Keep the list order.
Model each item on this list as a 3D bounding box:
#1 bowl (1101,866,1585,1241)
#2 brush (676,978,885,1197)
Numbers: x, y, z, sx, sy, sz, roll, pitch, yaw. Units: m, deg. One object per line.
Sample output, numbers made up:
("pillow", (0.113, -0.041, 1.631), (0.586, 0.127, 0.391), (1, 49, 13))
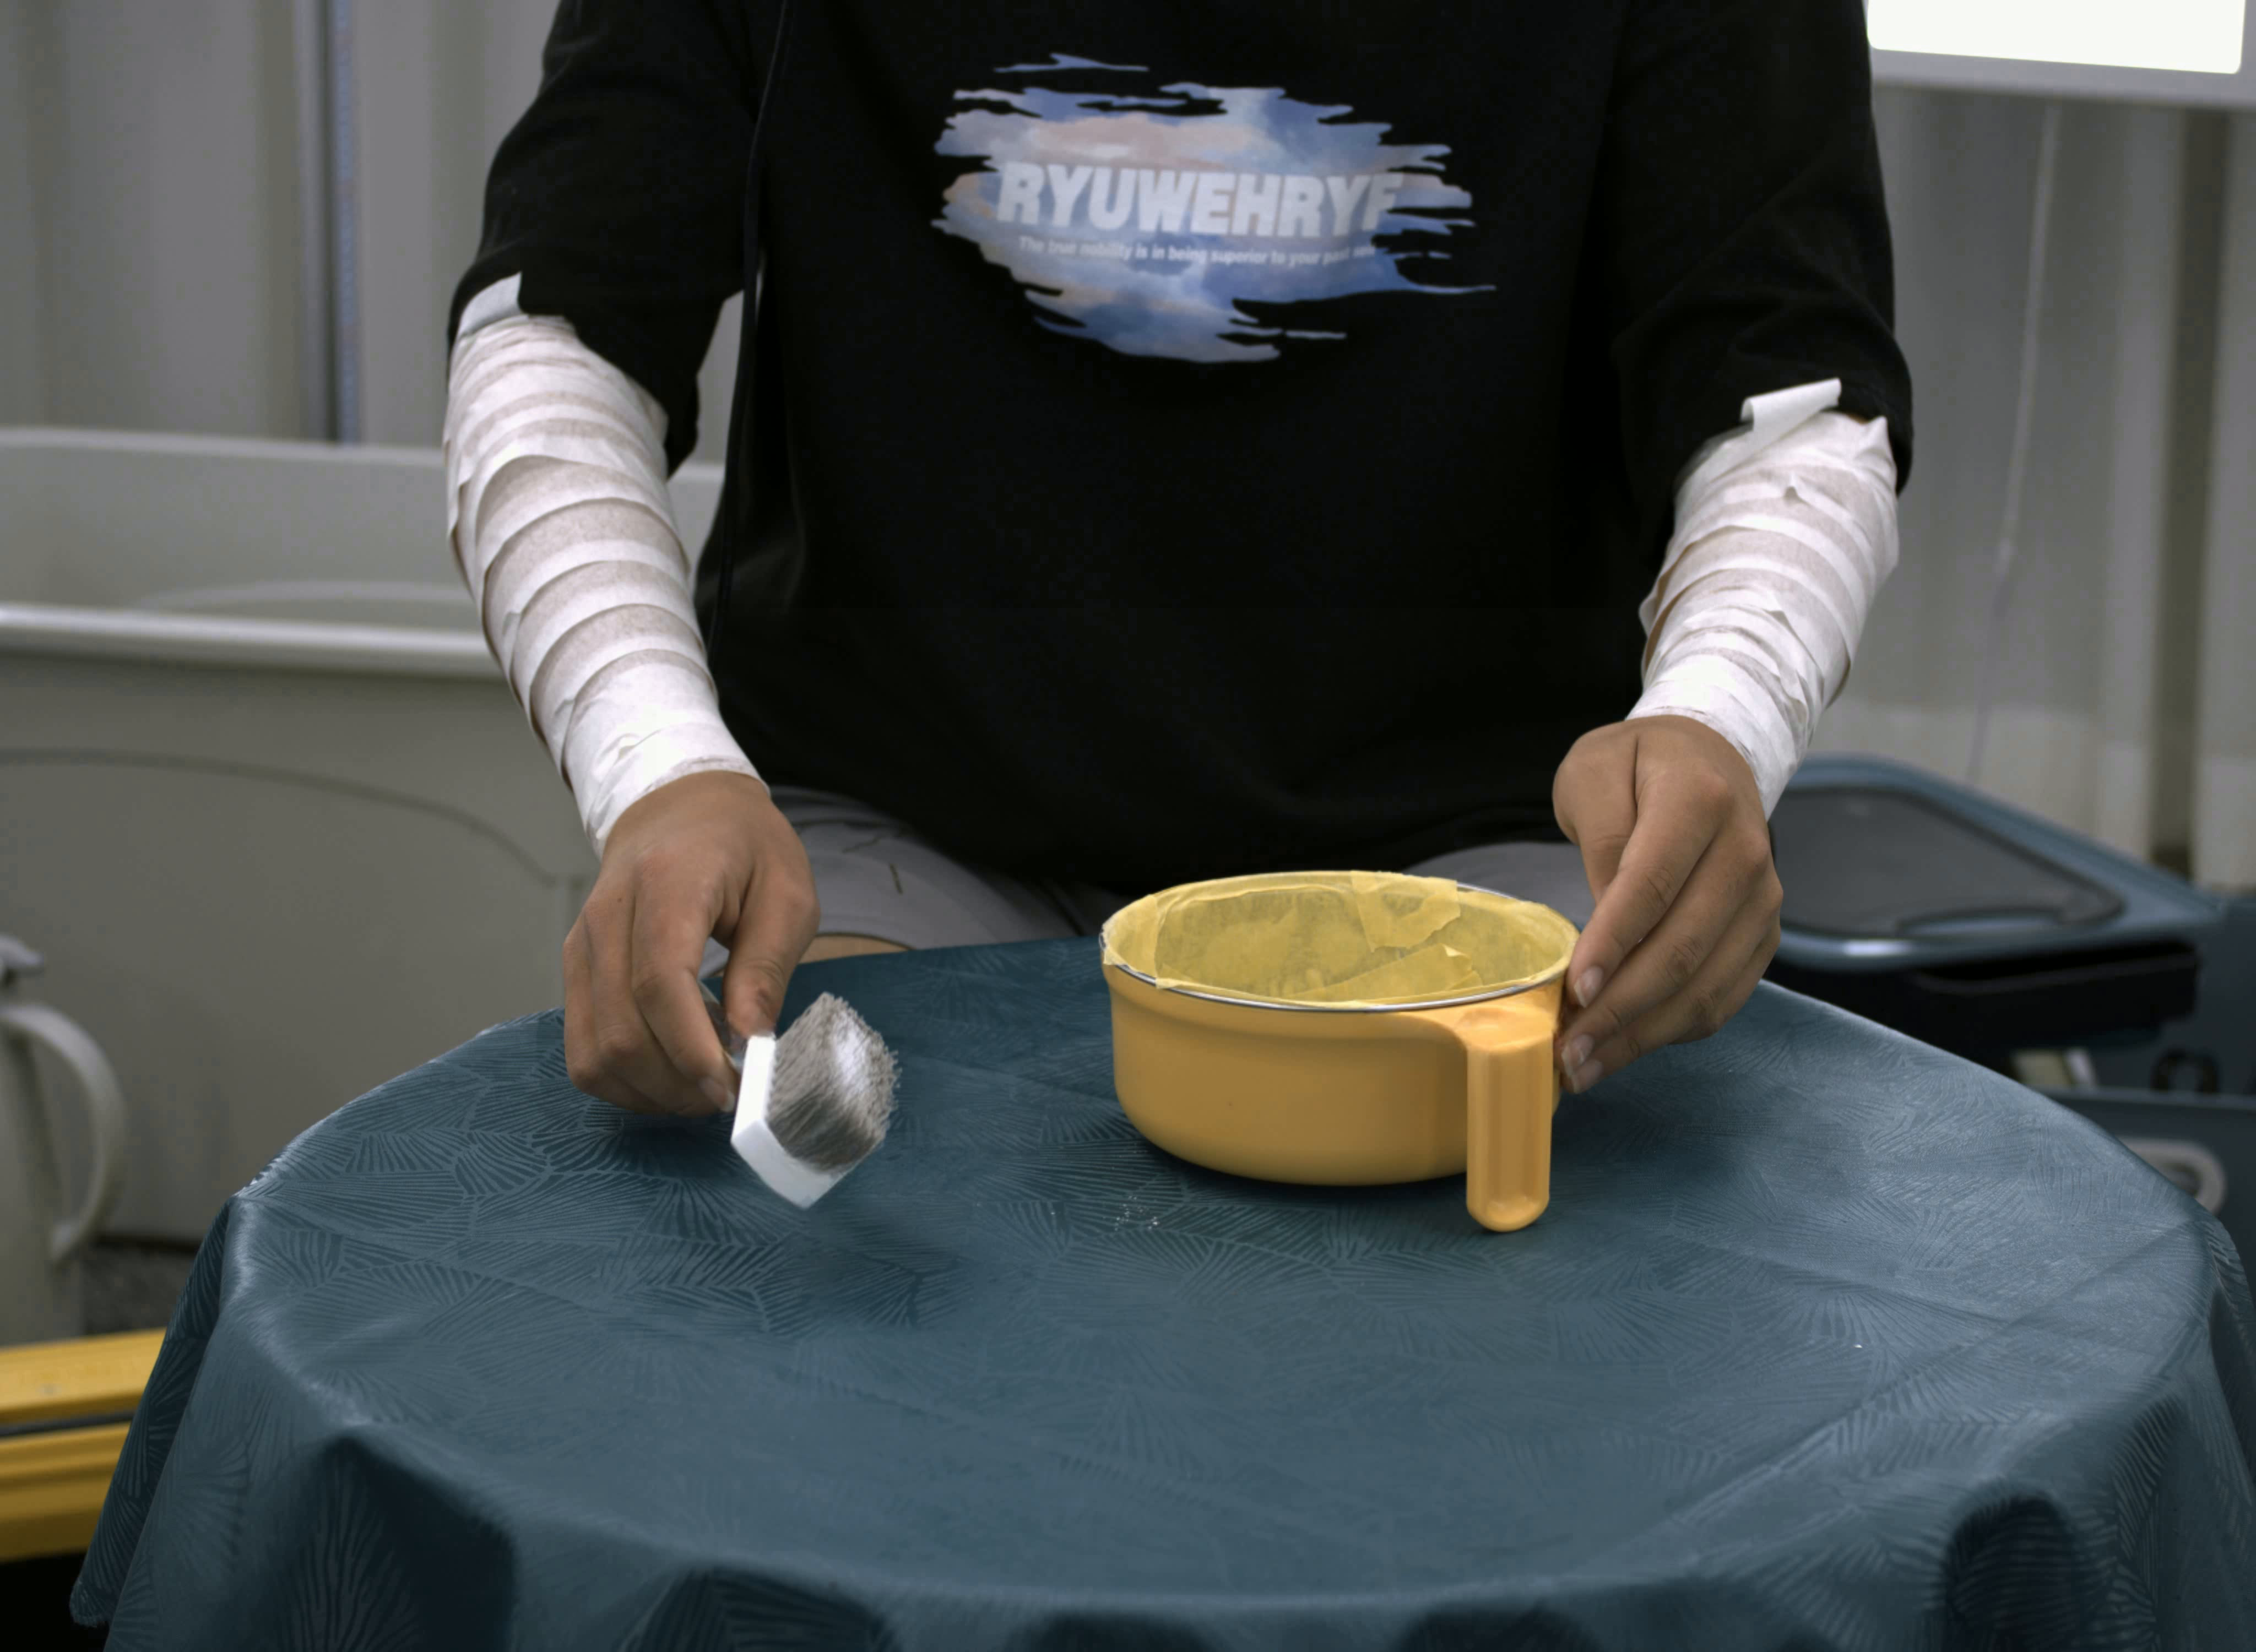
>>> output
("bowl", (0.072, 0.069, 1.655), (0.154, 0.075, 0.177), (-5, 17, -33))
("brush", (-0.109, 0.064, 1.633), (0.034, 0.050, 0.242), (43, 1, -14))
